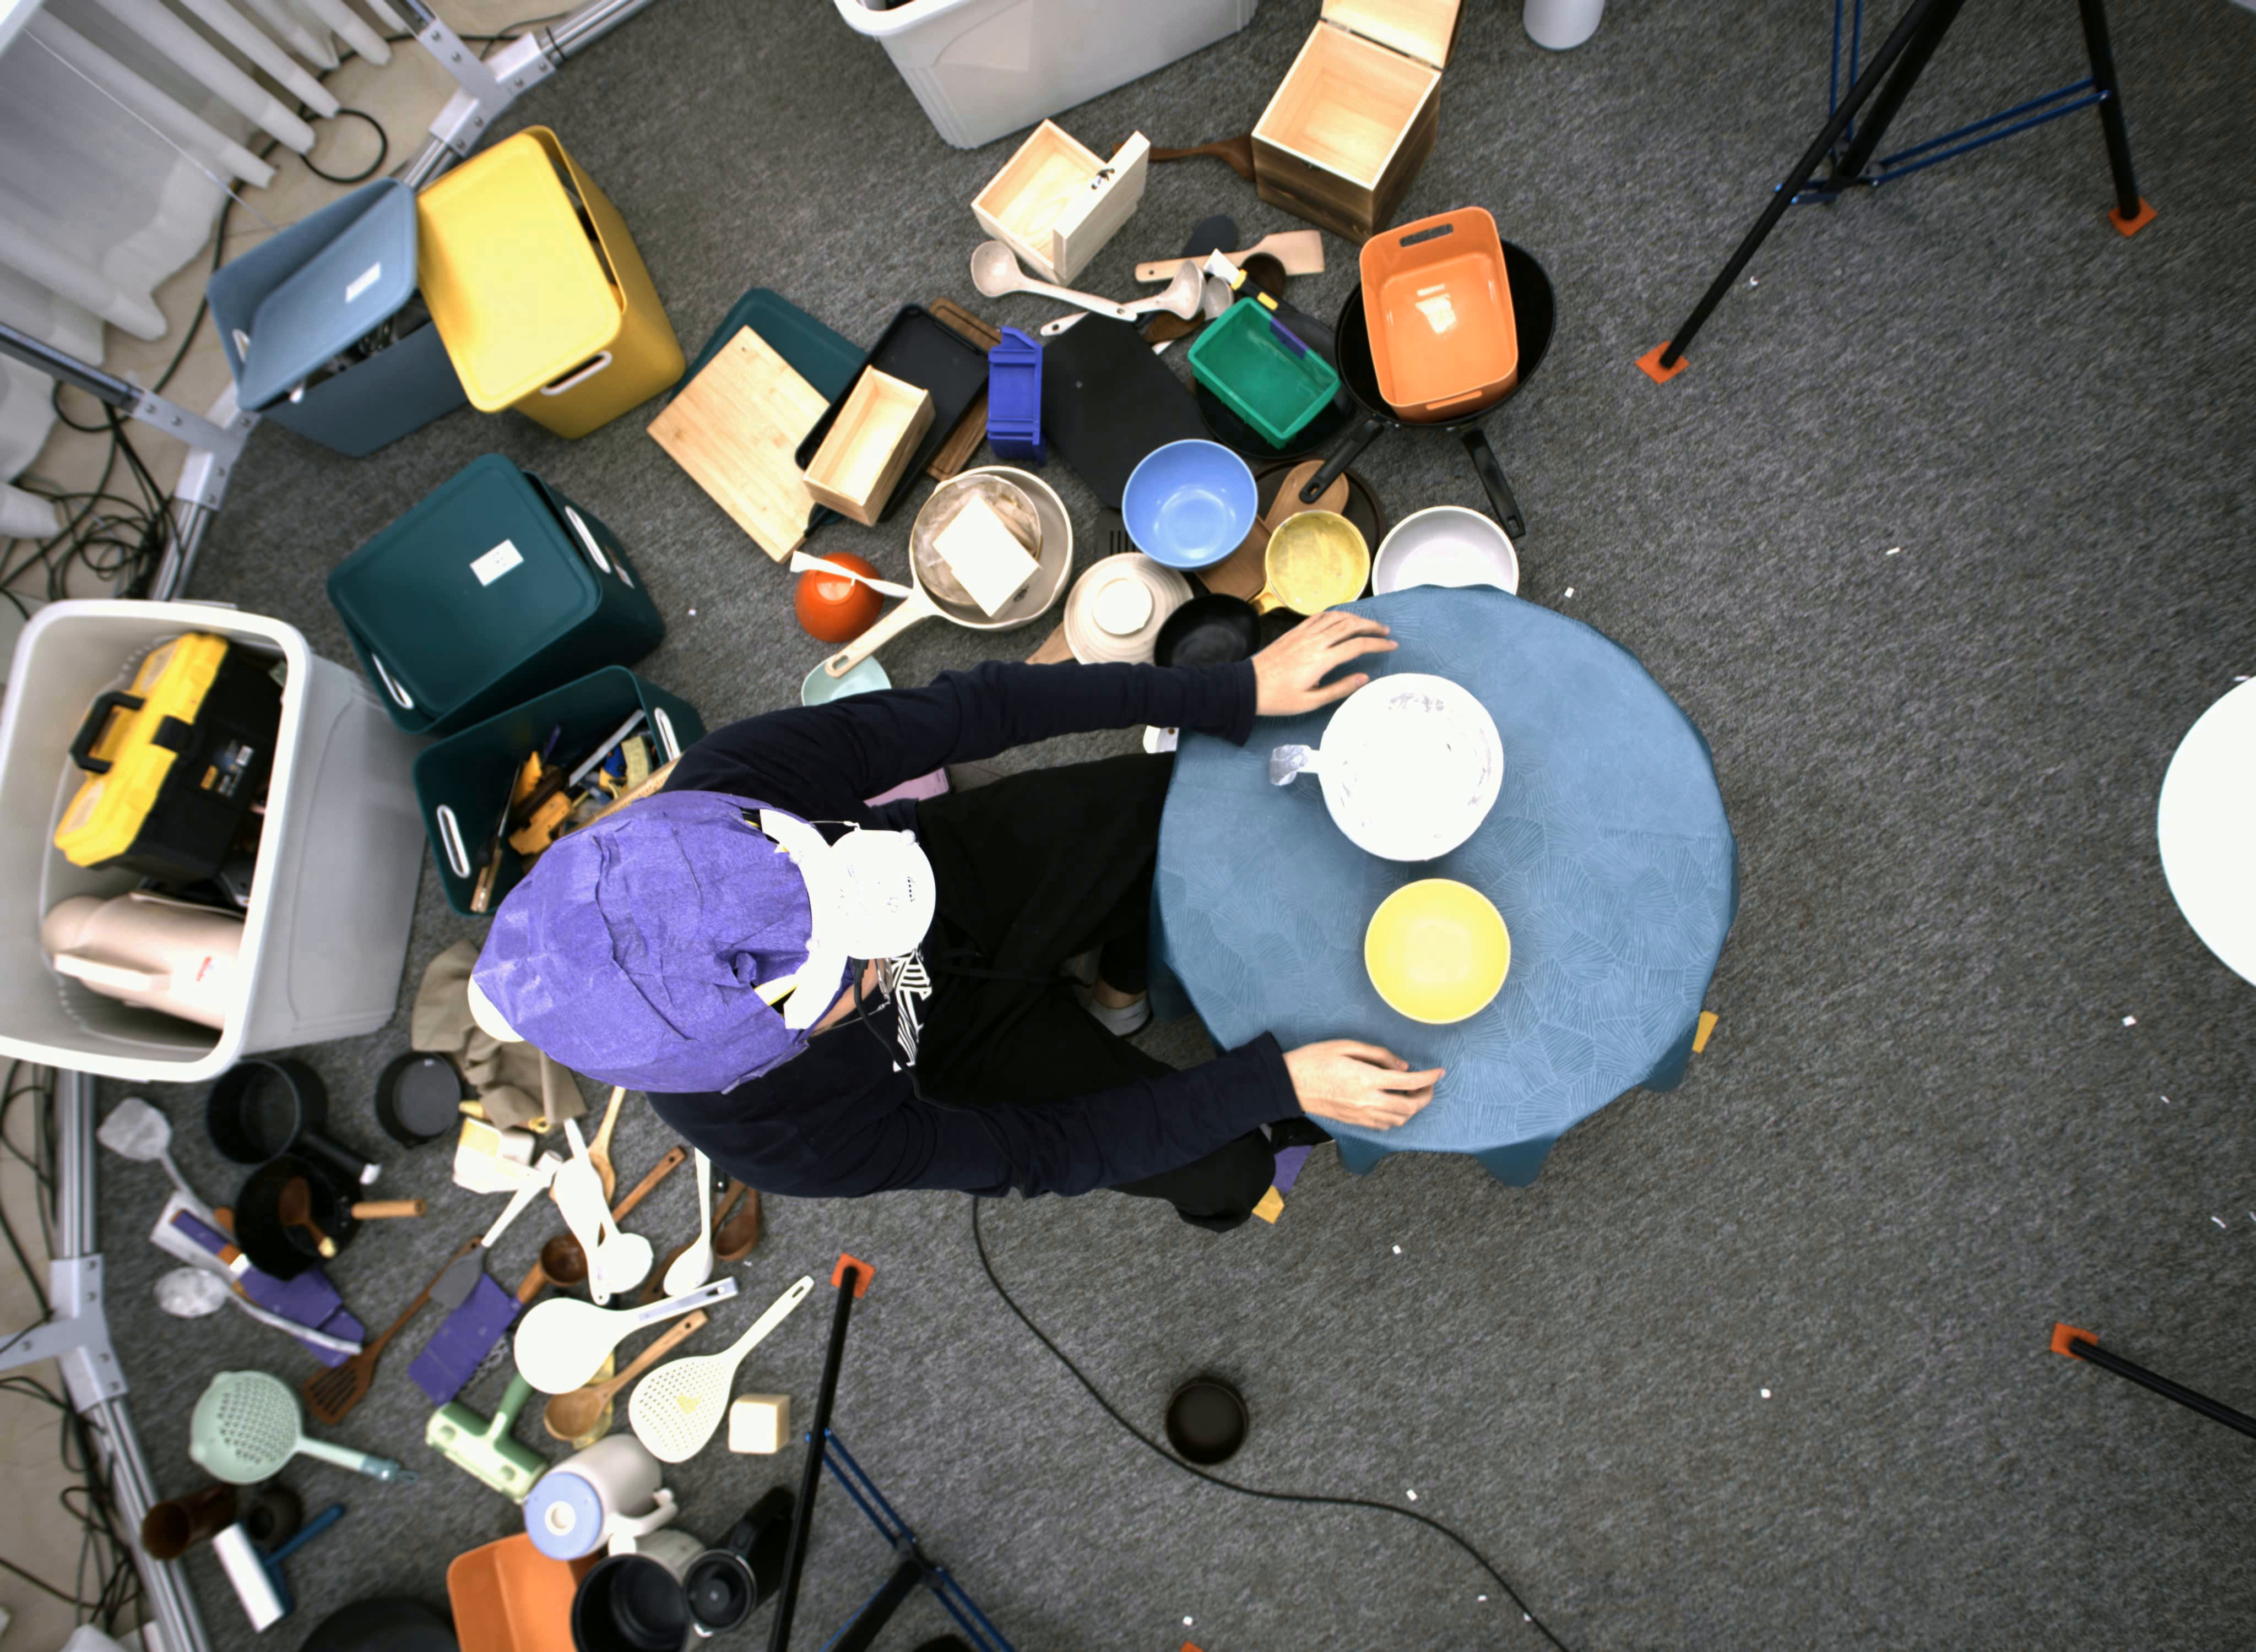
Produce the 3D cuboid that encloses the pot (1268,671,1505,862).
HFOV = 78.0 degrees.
[{"bbox_3d":[0.257,-0.058,1.400,0.234,0.137,0.177,3,84,10],"label":"pot"}]

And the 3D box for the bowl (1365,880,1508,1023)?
[{"bbox_3d":[0.314,0.128,1.417,0.146,0.060,0.144,-1,85,9],"label":"bowl"}]
